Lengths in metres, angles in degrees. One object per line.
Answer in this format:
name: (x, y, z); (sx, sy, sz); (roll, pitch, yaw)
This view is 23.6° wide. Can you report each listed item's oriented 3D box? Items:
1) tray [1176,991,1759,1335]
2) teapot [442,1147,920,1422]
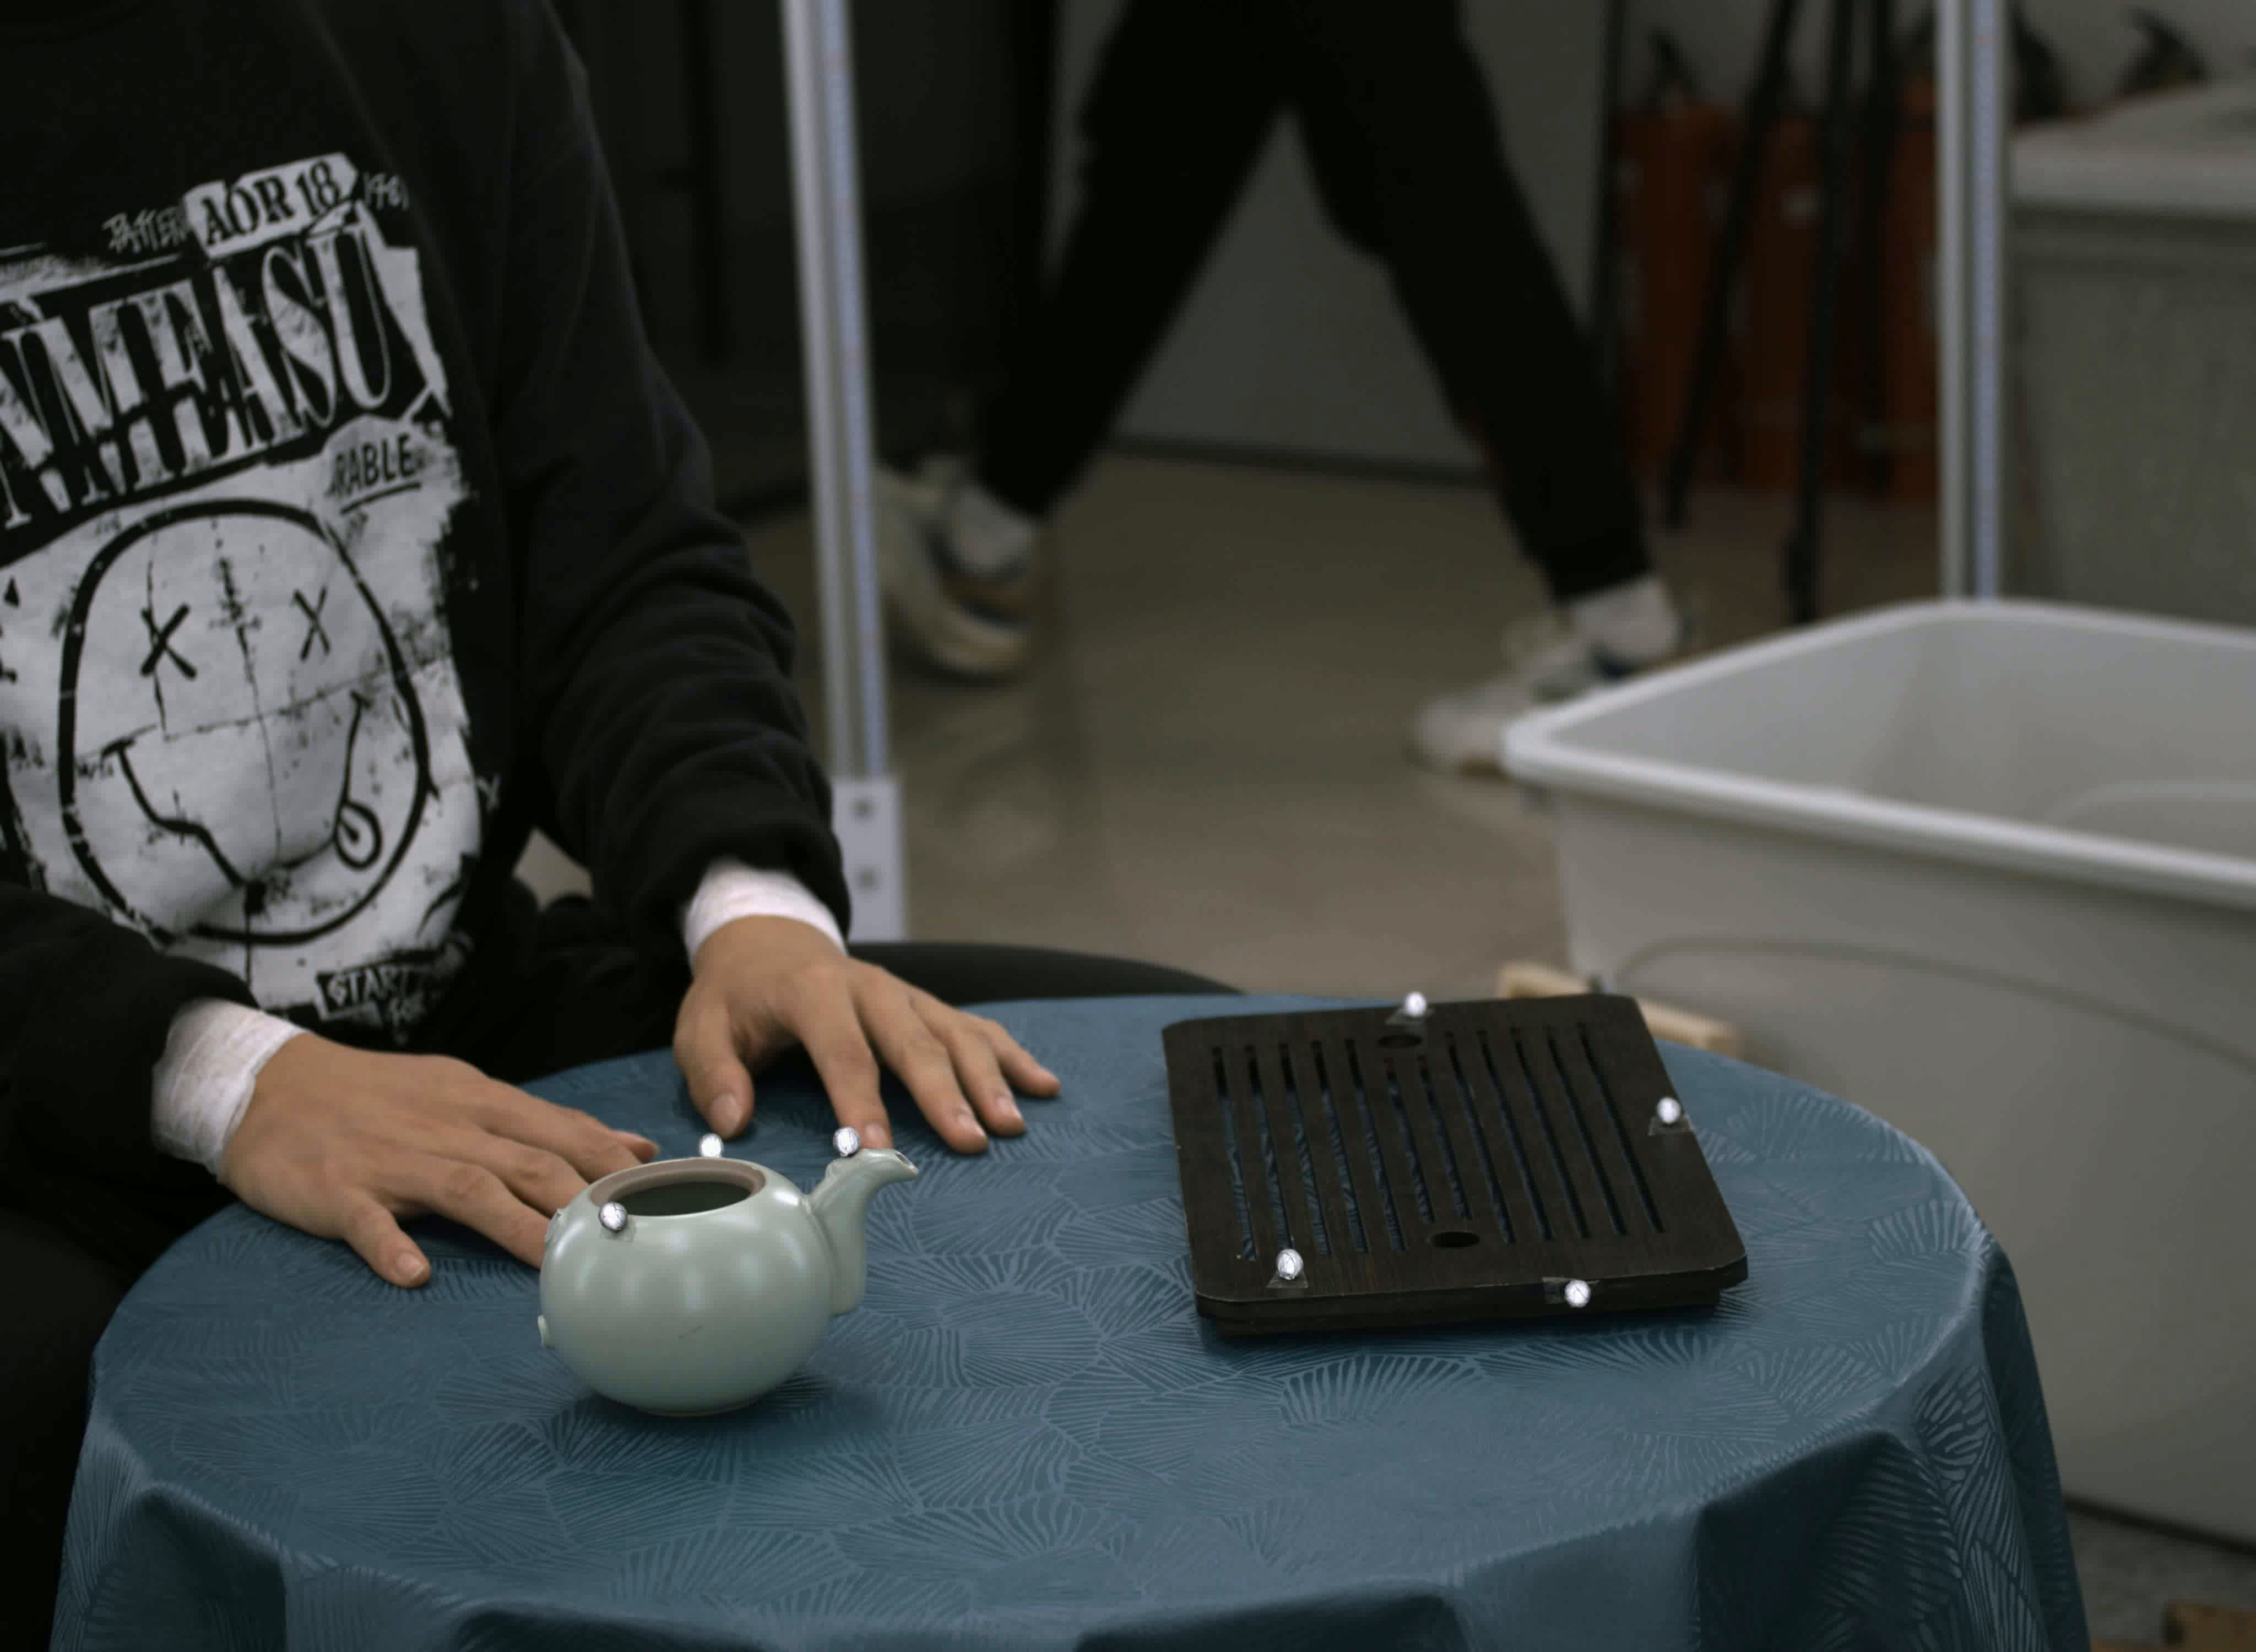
tray: (0.104, 0.107, 1.760); (0.168, 0.019, 0.306); (-5, 14, 0)
teapot: (-0.131, 0.135, 1.605); (0.142, 0.075, 0.088); (-3, 14, -1)
